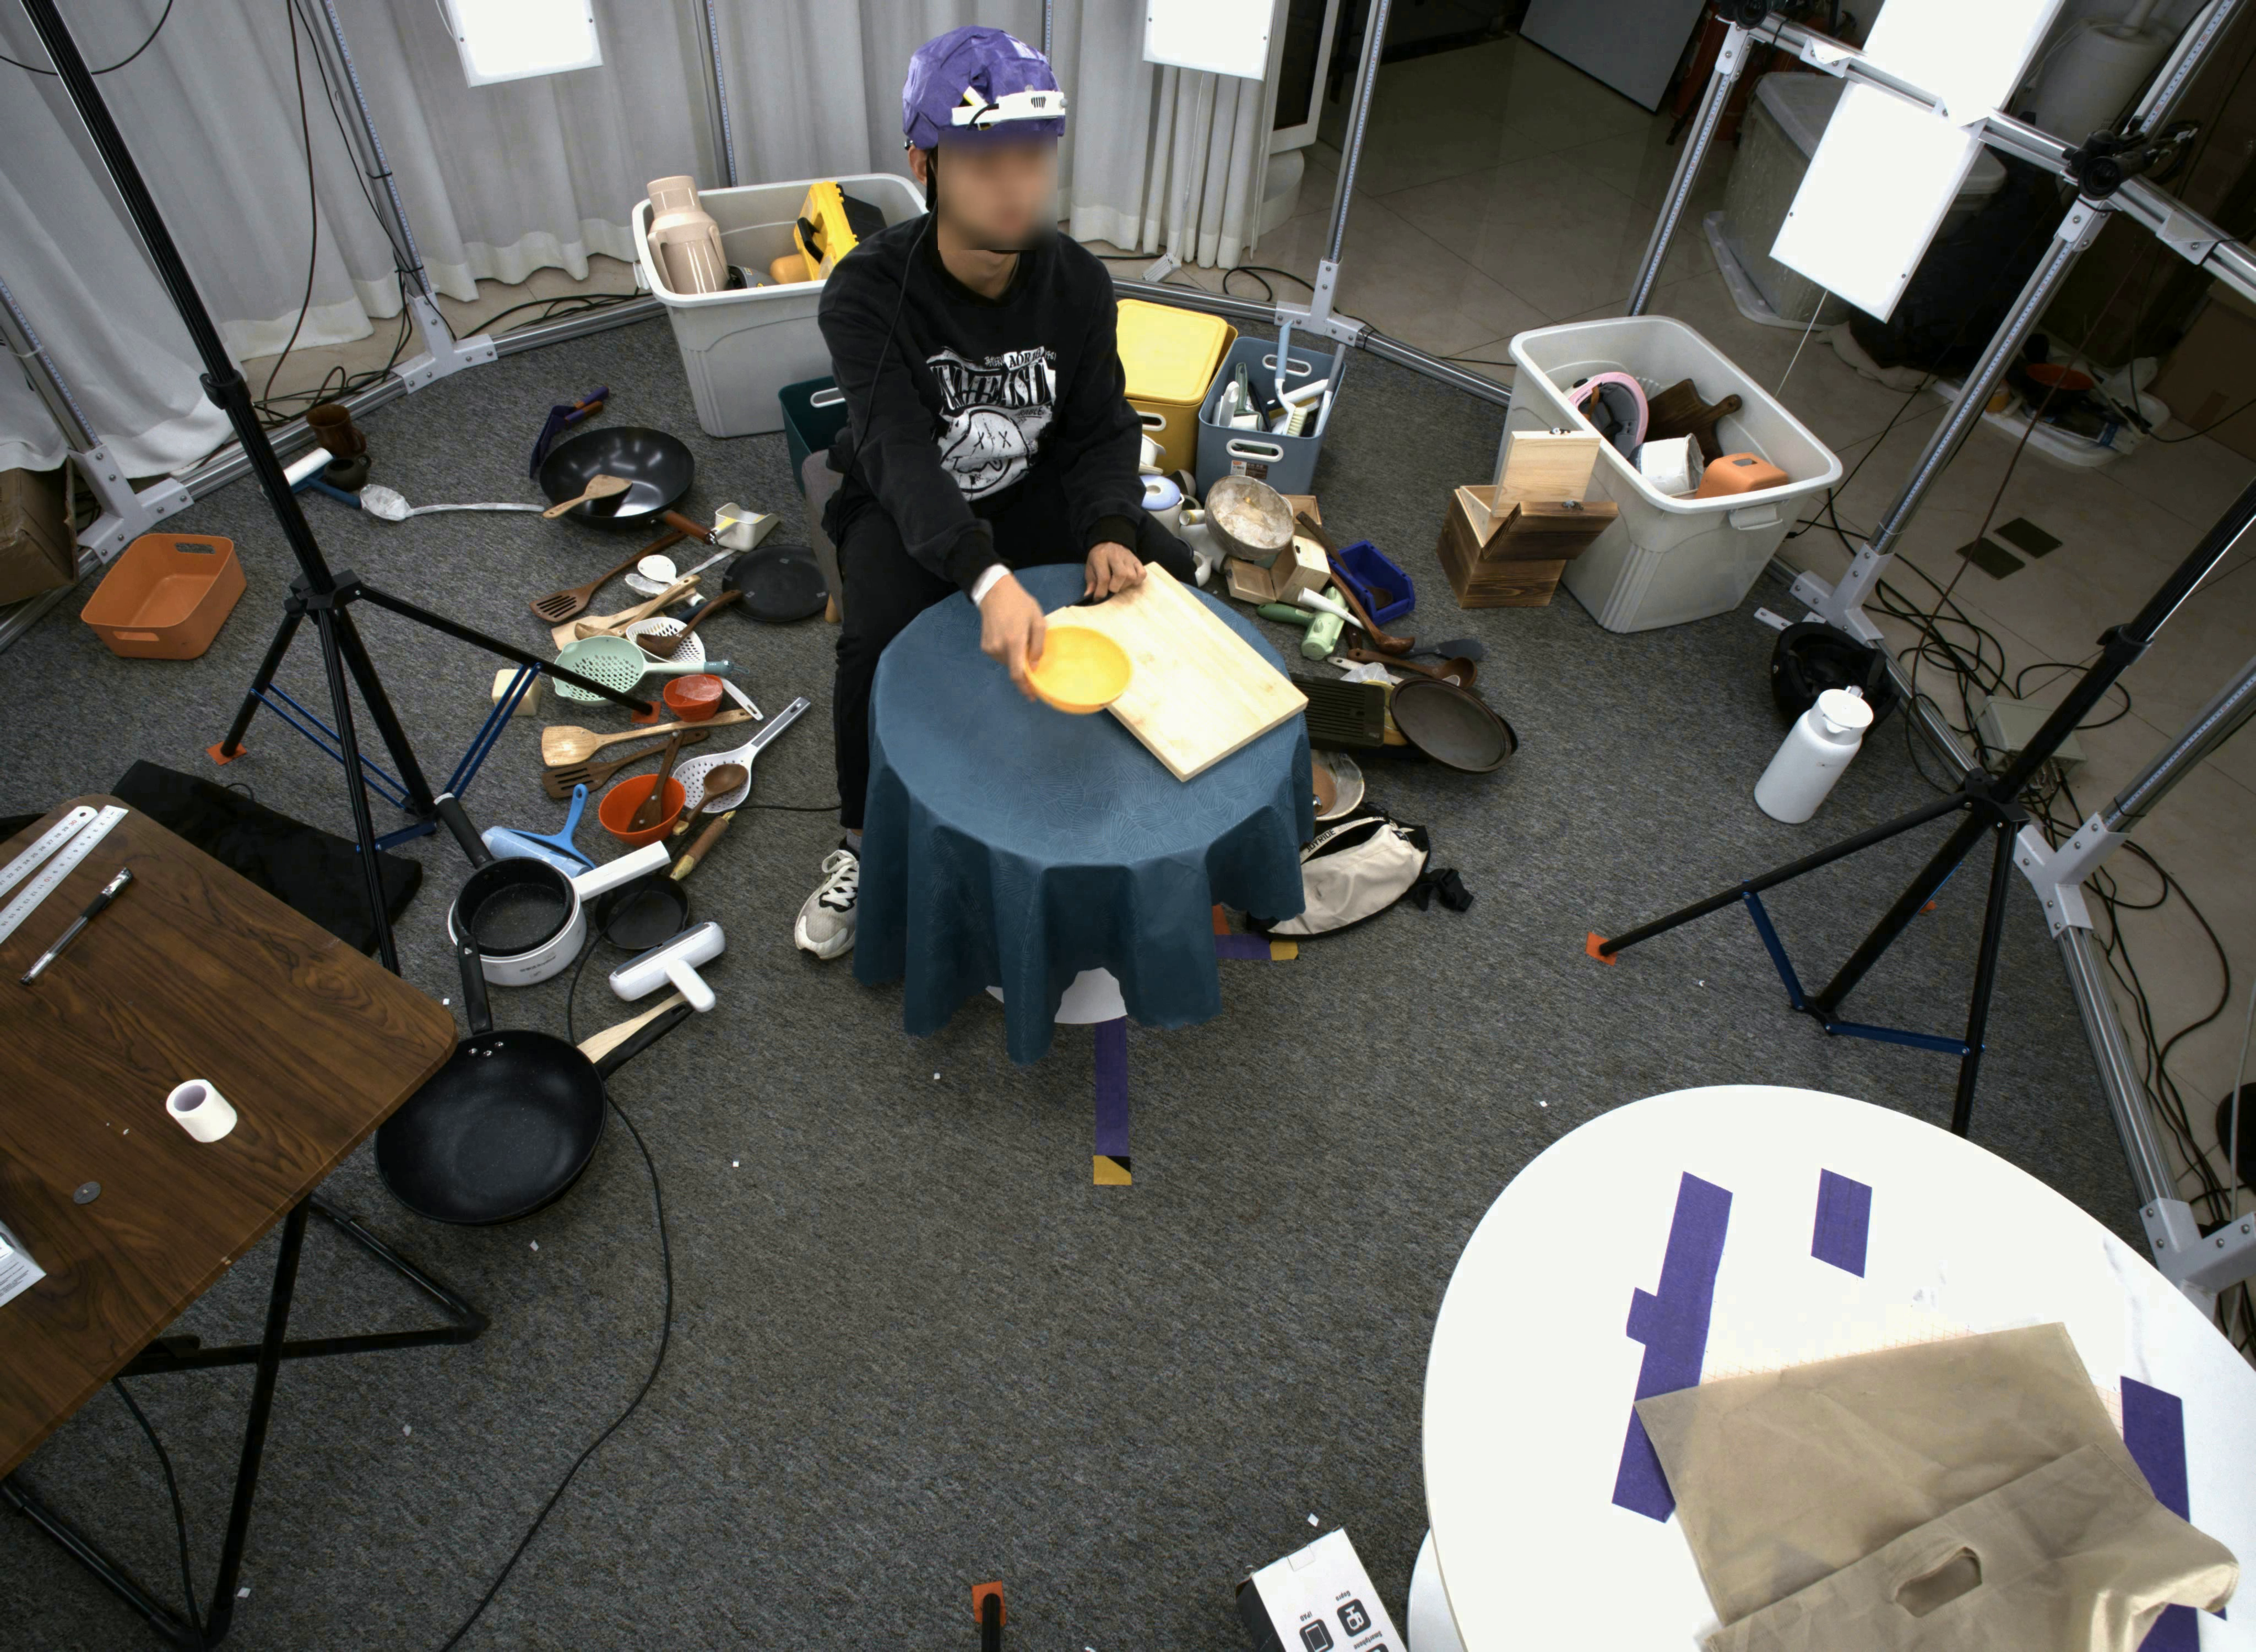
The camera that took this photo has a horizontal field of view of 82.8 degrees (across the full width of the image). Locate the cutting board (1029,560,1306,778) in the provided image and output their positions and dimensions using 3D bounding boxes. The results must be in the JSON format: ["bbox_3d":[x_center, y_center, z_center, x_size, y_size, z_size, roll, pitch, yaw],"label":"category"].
[{"bbox_3d":[0.055,-0.236,1.865,0.252,0.023,0.354,-32,62,-28],"label":"cutting board"}]

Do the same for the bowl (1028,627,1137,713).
[{"bbox_3d":[-0.065,-0.195,1.695,0.145,0.059,0.149,8,46,-8],"label":"bowl"}]
